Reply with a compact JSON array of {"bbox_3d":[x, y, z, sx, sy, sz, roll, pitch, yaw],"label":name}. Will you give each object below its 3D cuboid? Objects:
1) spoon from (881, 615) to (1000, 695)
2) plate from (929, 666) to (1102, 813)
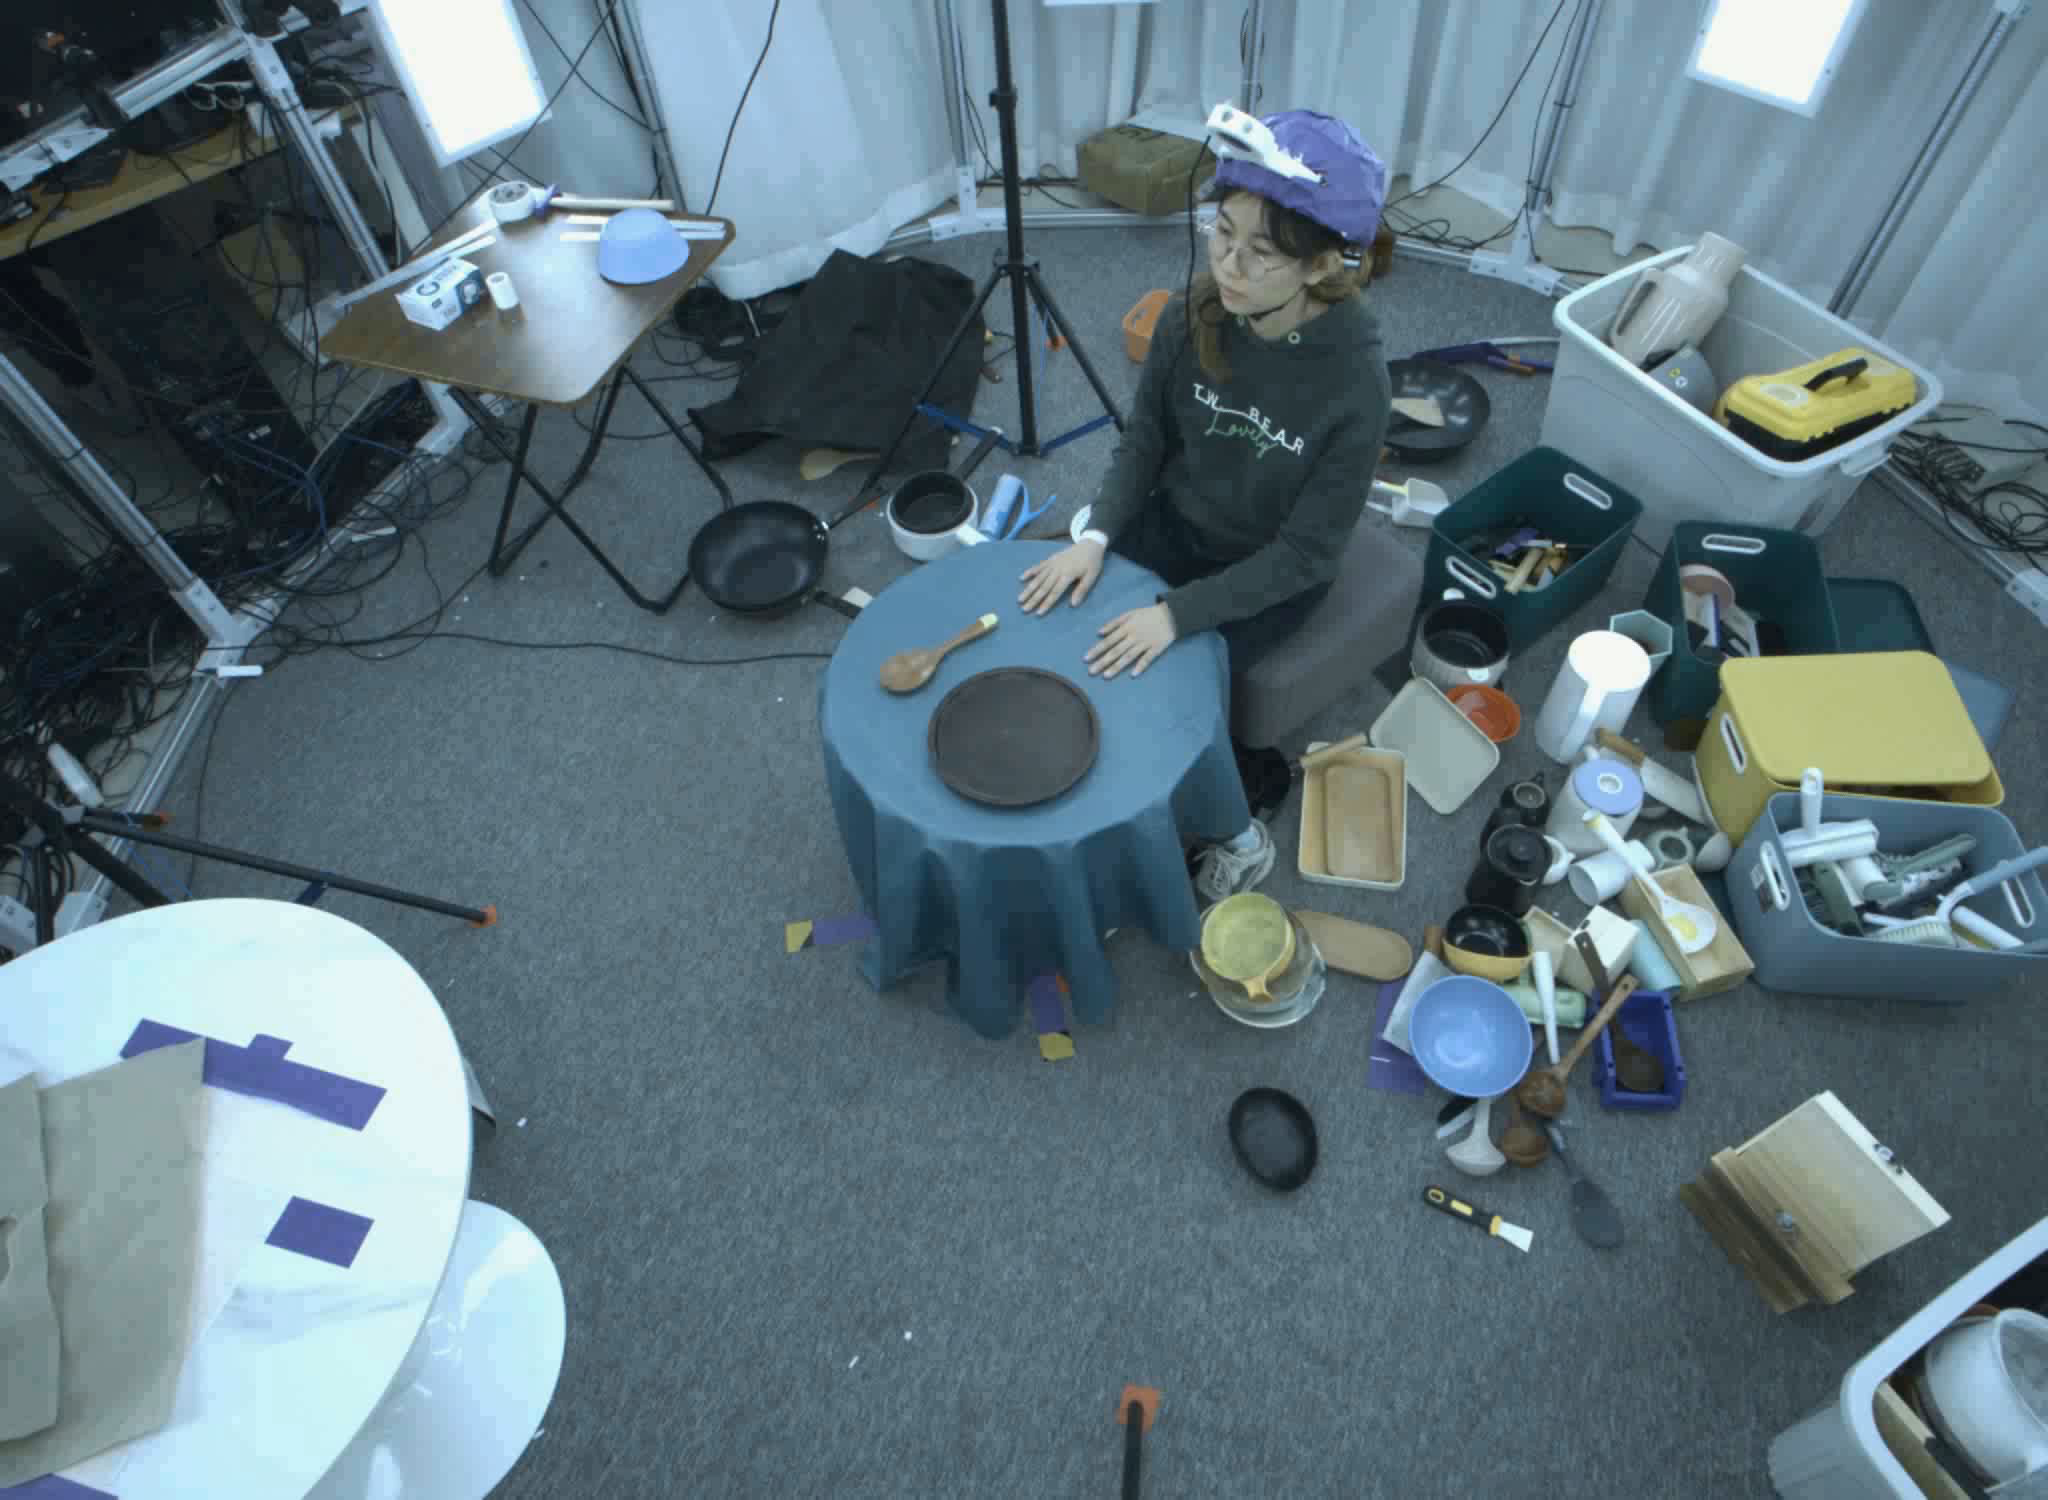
[{"bbox_3d":[-0.126,-0.148,1.895,0.217,0.017,0.074,-35,61,-20],"label":"spoon"},{"bbox_3d":[-0.012,-0.015,1.795,0.254,0.029,0.252,0,56,2],"label":"plate"}]
